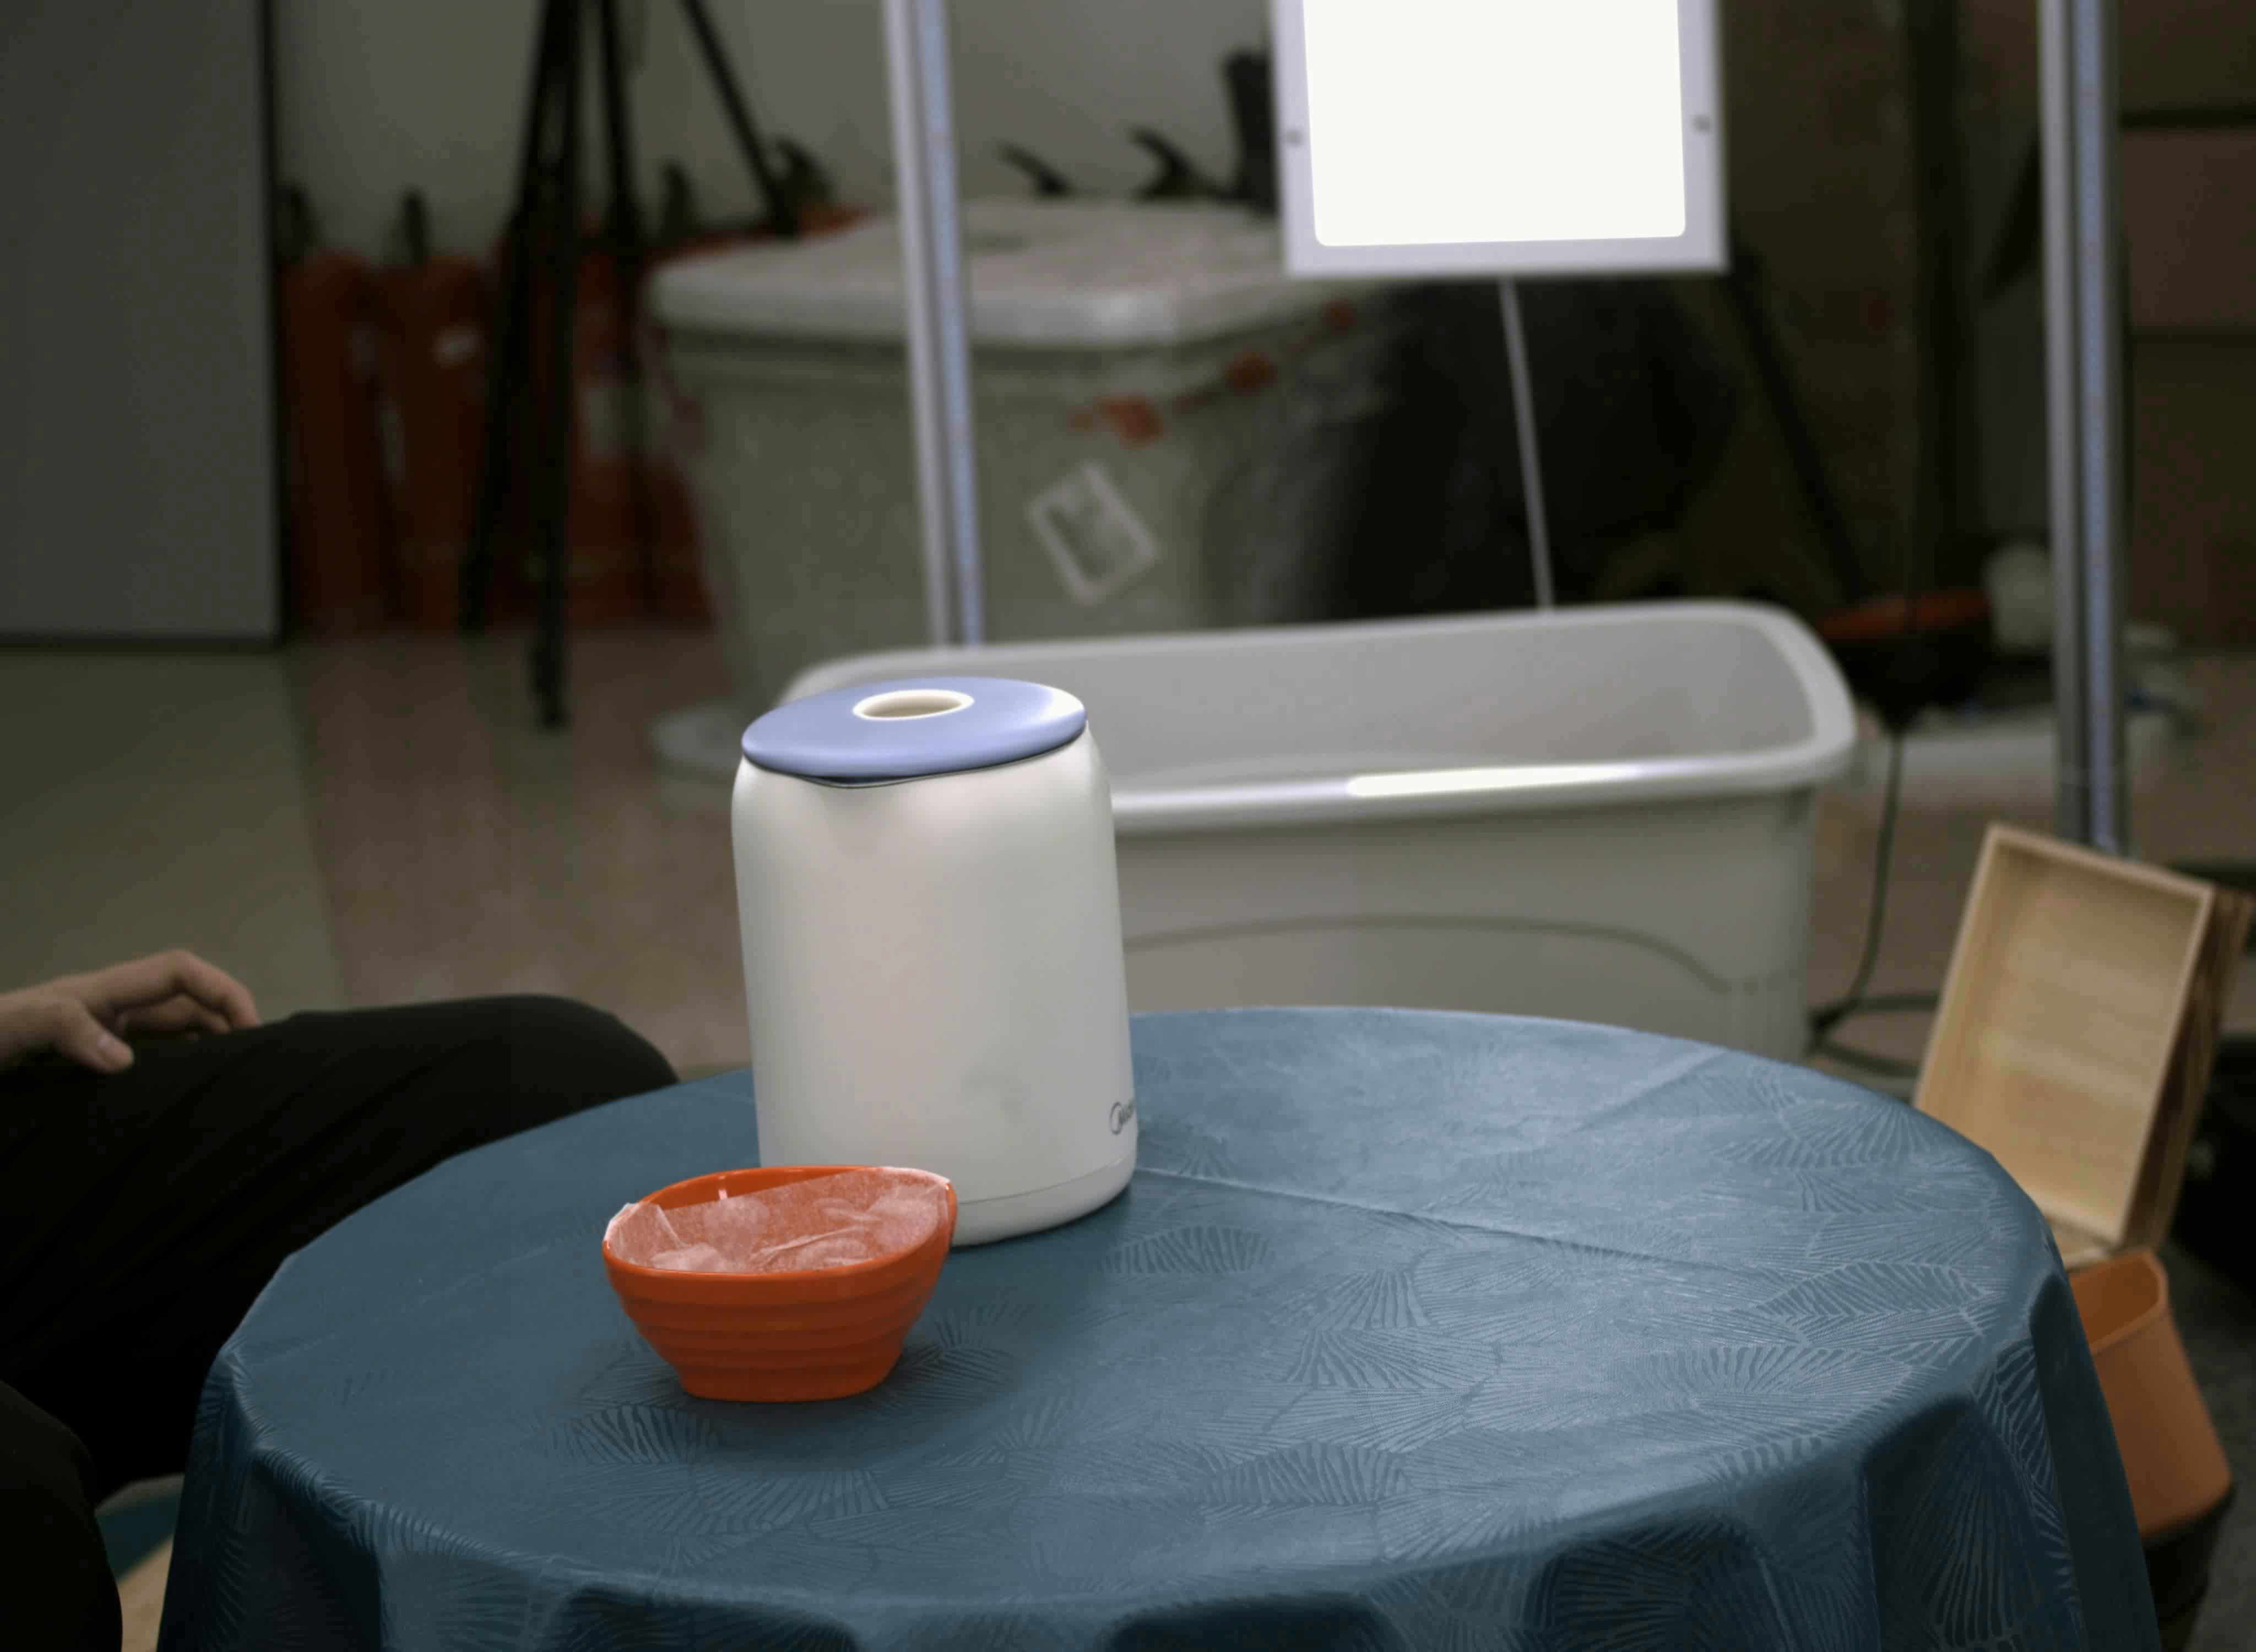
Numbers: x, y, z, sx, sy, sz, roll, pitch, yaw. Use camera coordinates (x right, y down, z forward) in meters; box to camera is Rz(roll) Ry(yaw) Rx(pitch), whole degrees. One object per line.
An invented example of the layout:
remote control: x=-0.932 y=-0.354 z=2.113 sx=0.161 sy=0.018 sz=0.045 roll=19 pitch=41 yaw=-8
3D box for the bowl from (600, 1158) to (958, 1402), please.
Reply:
bowl: x=-0.109 y=0.146 z=1.743 sx=0.118 sy=0.051 sz=0.119 roll=-3 pitch=16 yaw=0

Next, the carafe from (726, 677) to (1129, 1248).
carafe: x=-0.063 y=0.041 z=1.911 sx=0.133 sy=0.183 sz=0.188 roll=1 pitch=12 yaw=16
